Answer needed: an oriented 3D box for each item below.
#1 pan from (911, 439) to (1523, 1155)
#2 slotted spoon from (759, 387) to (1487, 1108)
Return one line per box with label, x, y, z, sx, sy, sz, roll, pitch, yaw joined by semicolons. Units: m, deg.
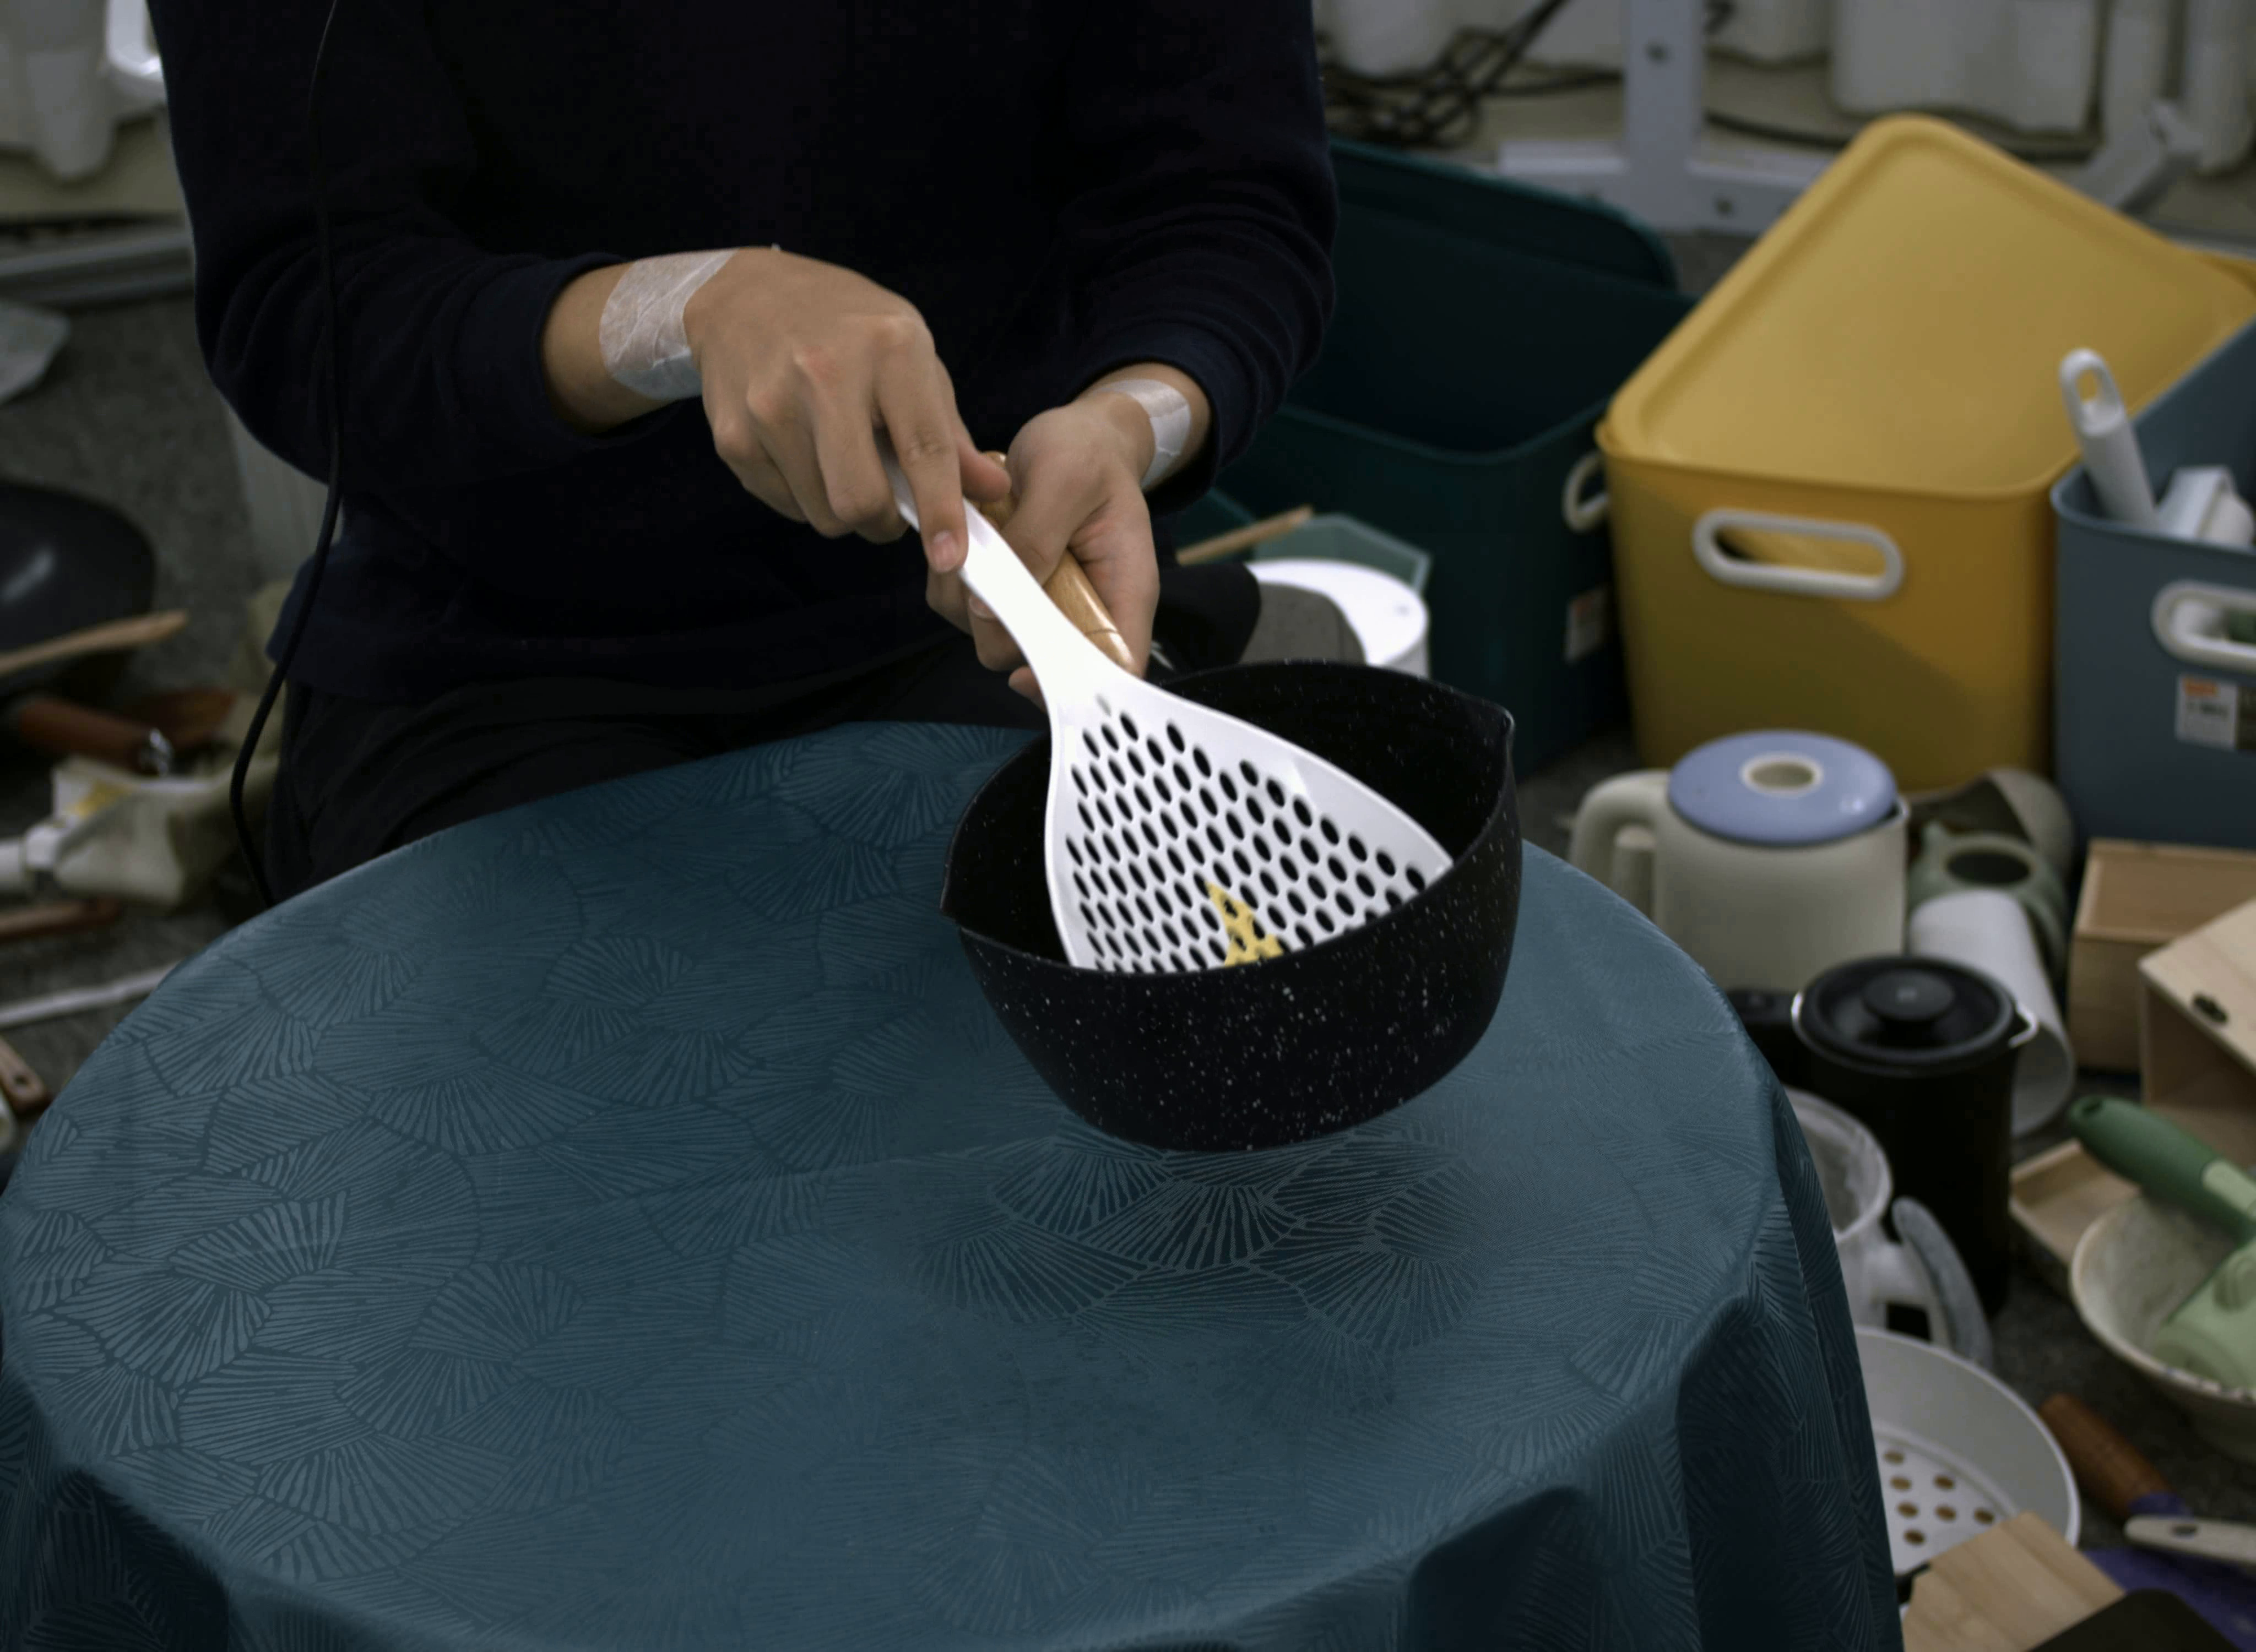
pan;0.010;-0.016;1.882;0.208;0.107;0.346;-21;32;-11
slotted spoon;-0.015;-0.038;1.861;0.138;0.049;0.350;-27;65;-24
